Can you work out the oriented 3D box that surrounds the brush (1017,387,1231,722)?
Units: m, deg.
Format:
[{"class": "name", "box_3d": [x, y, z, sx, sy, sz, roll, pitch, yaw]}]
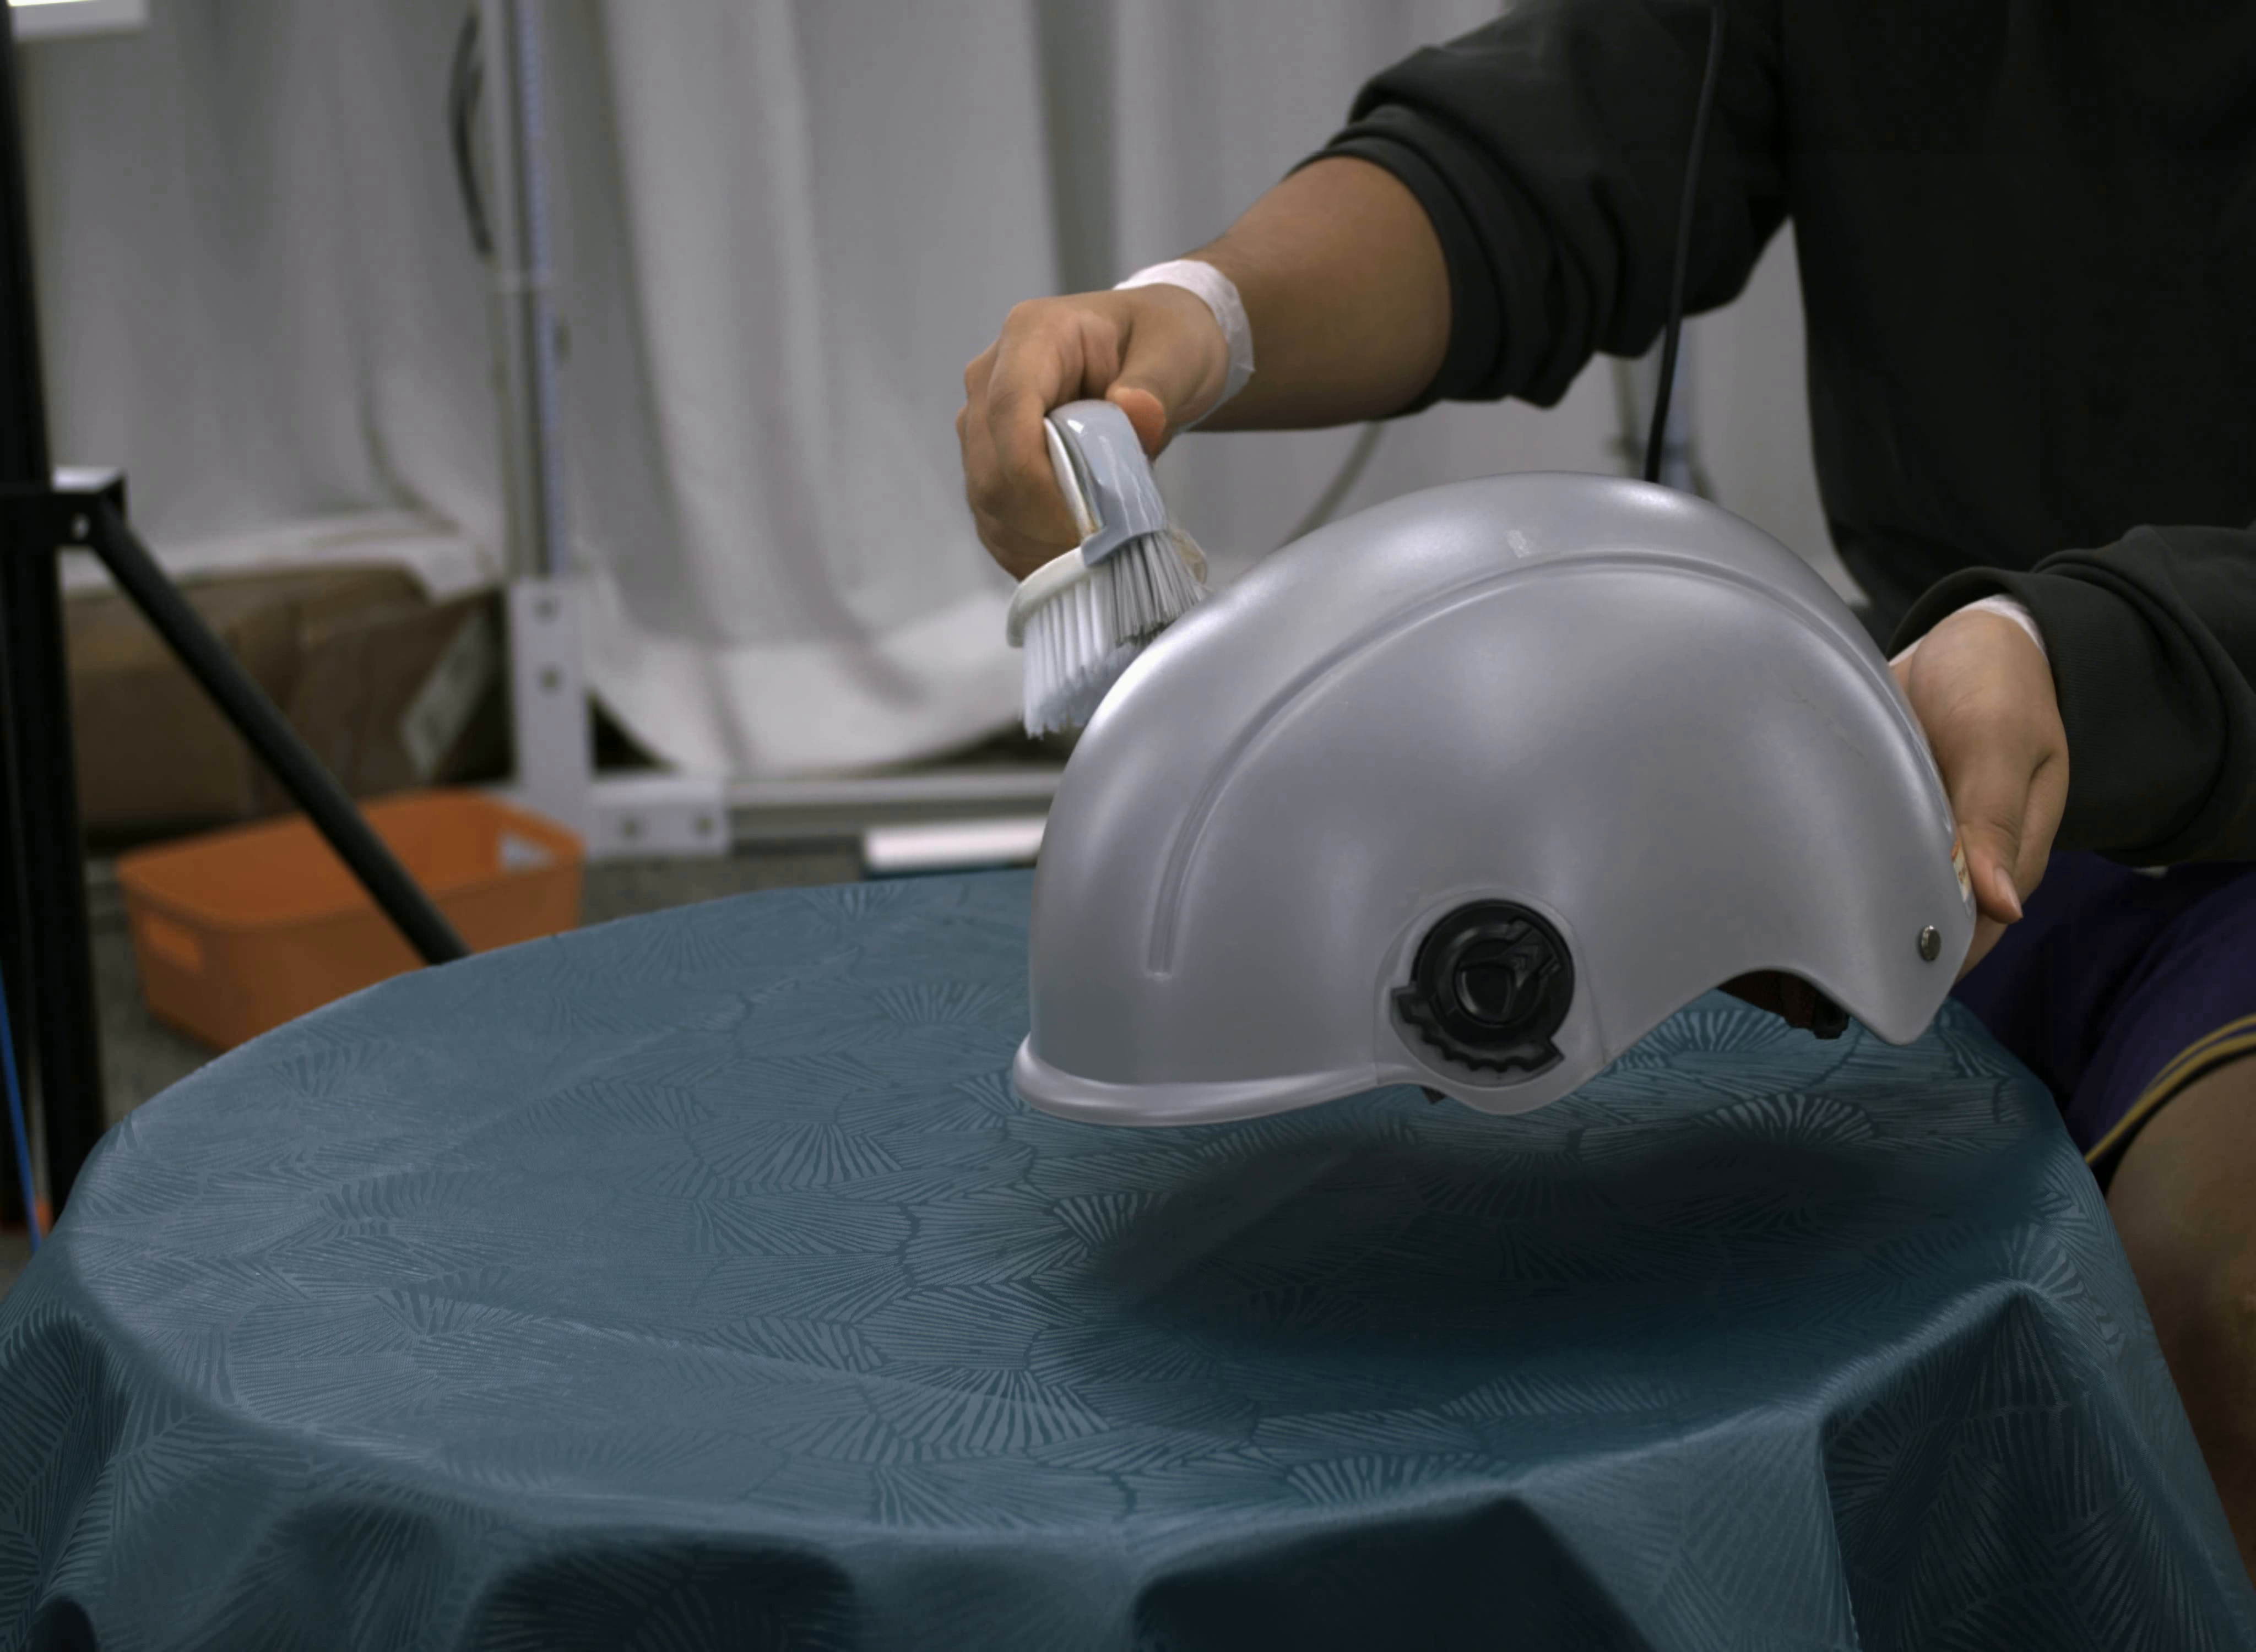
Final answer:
[{"class": "brush", "box_3d": [-0.003, -0.088, 1.609, 0.061, 0.095, 0.176, -15, -4, -7]}]

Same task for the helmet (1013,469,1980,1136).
[{"class": "helmet", "box_3d": [0.098, -0.013, 1.490, 0.272, 0.169, 0.235, -6, 9, -11]}]
